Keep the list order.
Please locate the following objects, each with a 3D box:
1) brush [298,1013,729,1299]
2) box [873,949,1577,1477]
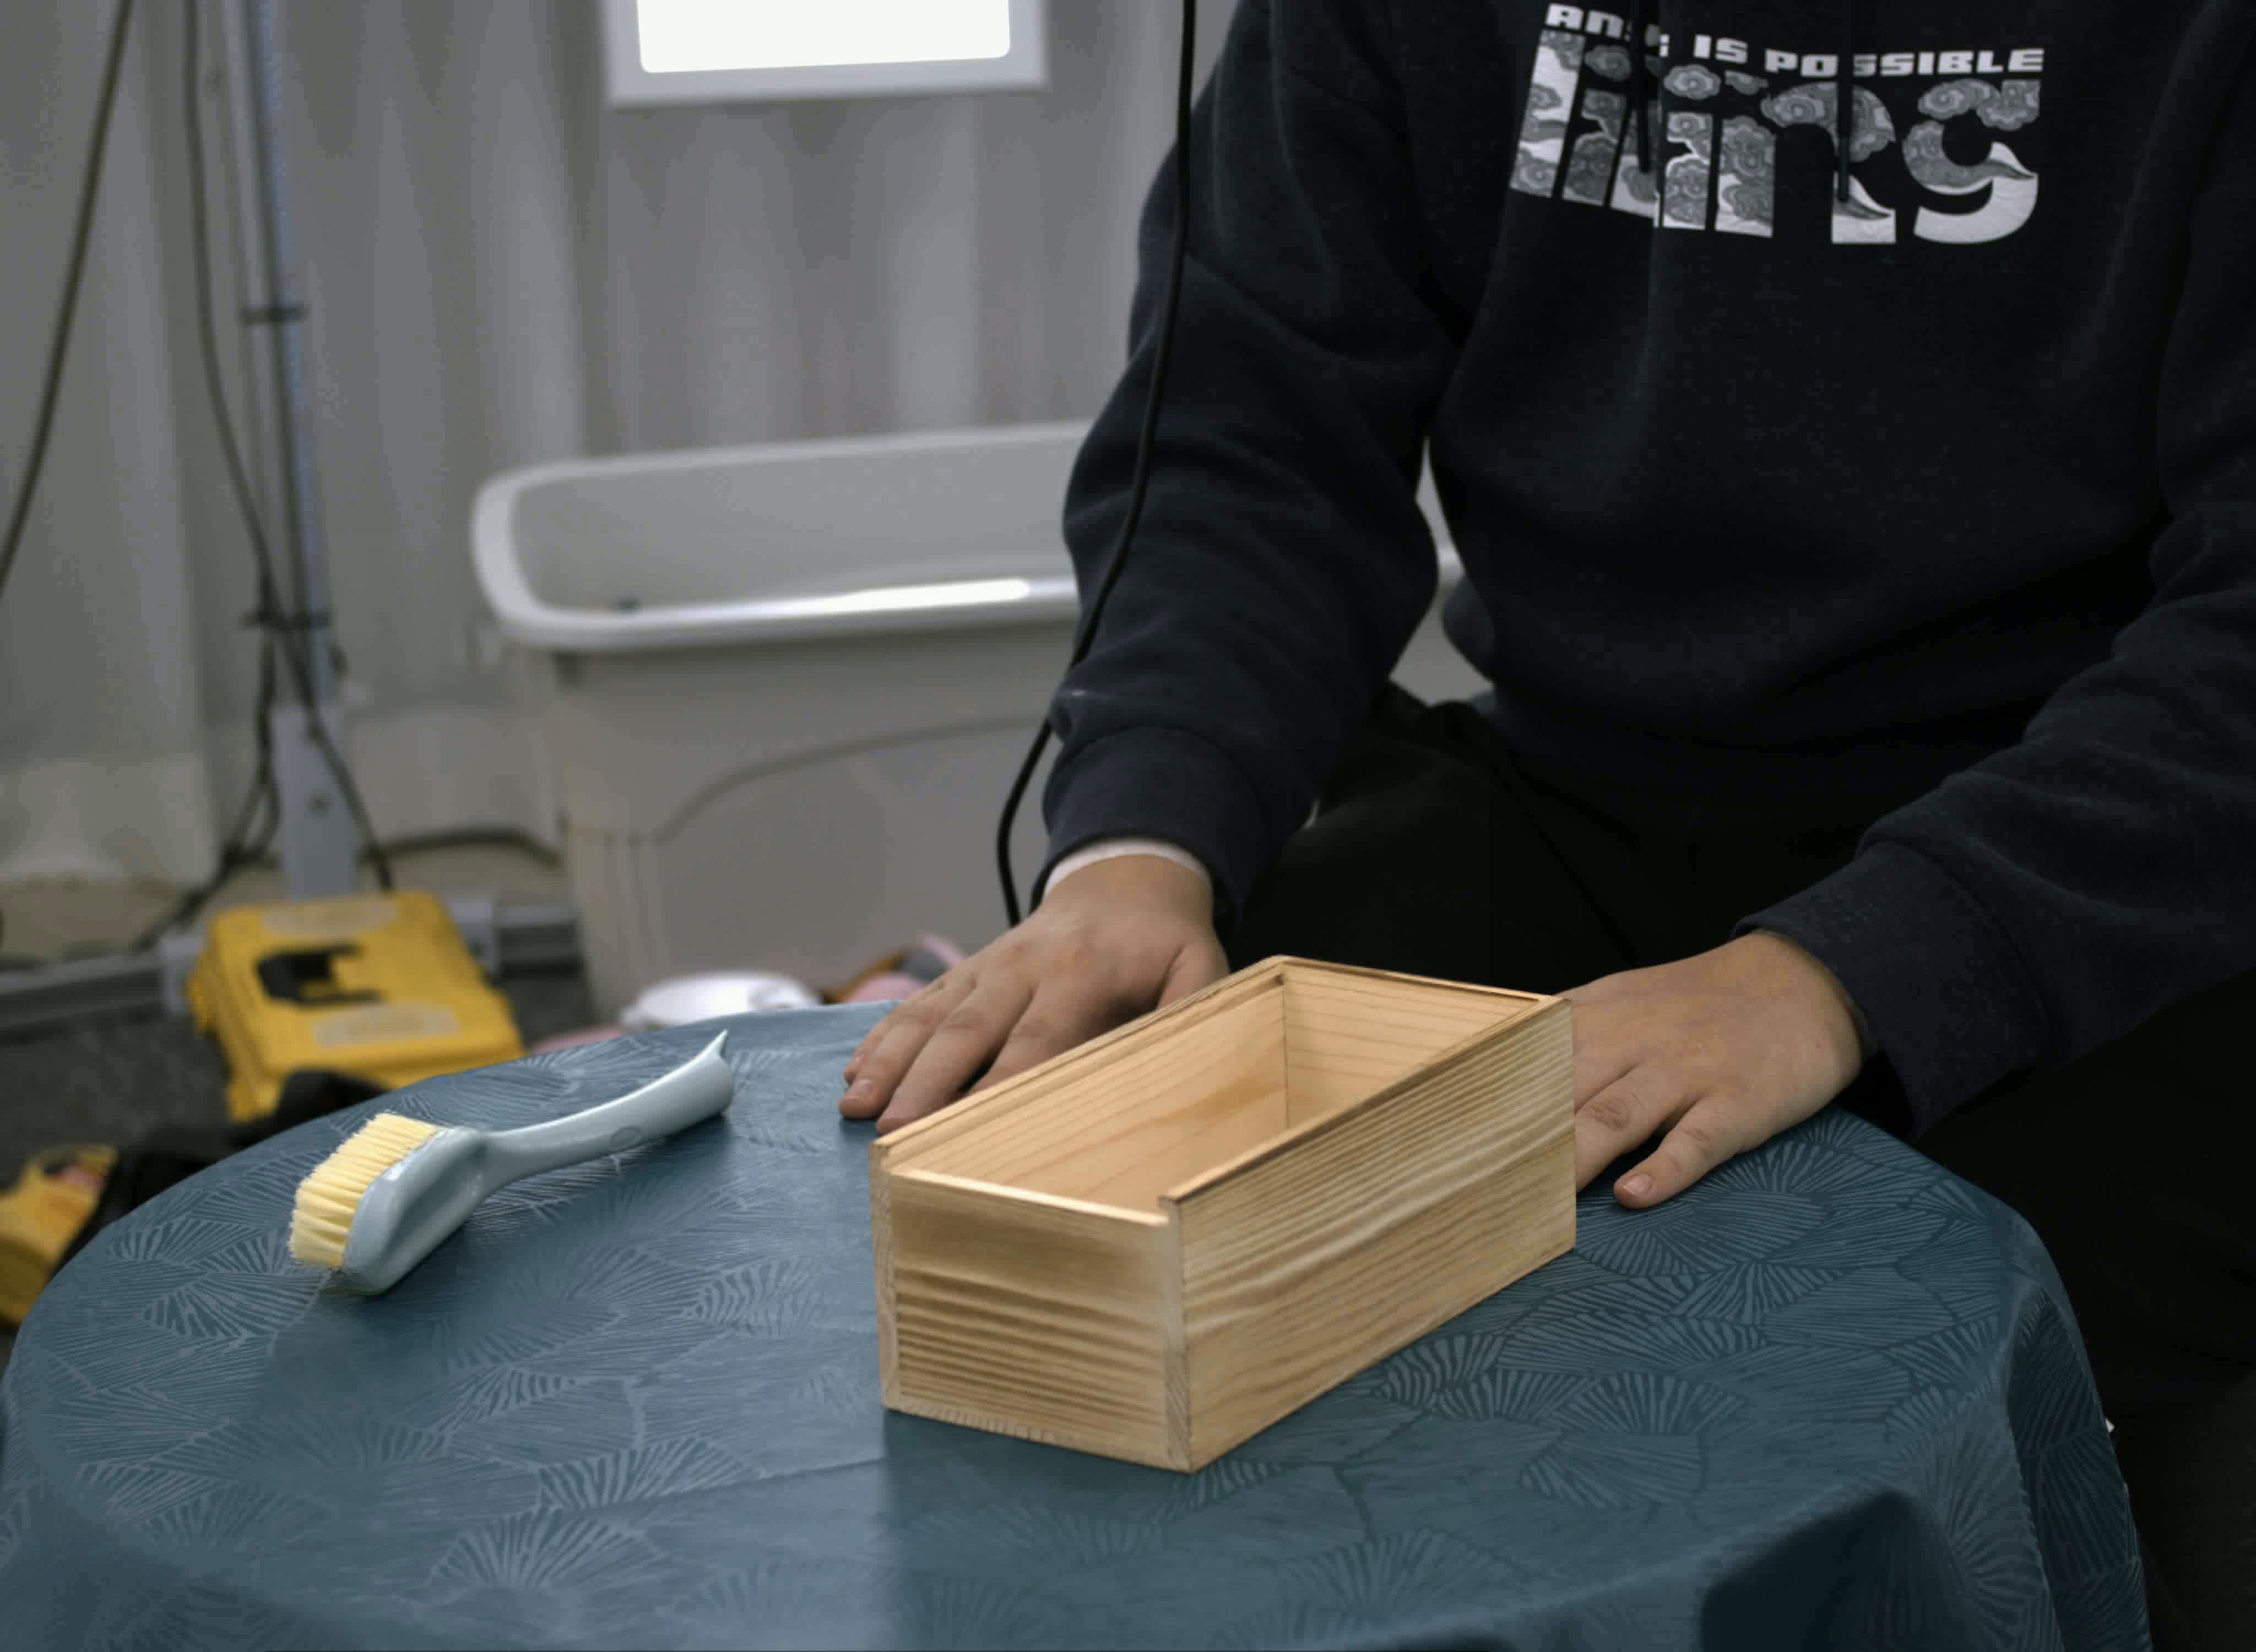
[{"bbox_3d":[-0.191,0.098,1.740,0.050,0.037,0.229,12,20,25],"label":"brush"},{"bbox_3d":[0.032,0.107,1.584,0.108,0.080,0.211,7,18,33],"label":"box"}]
